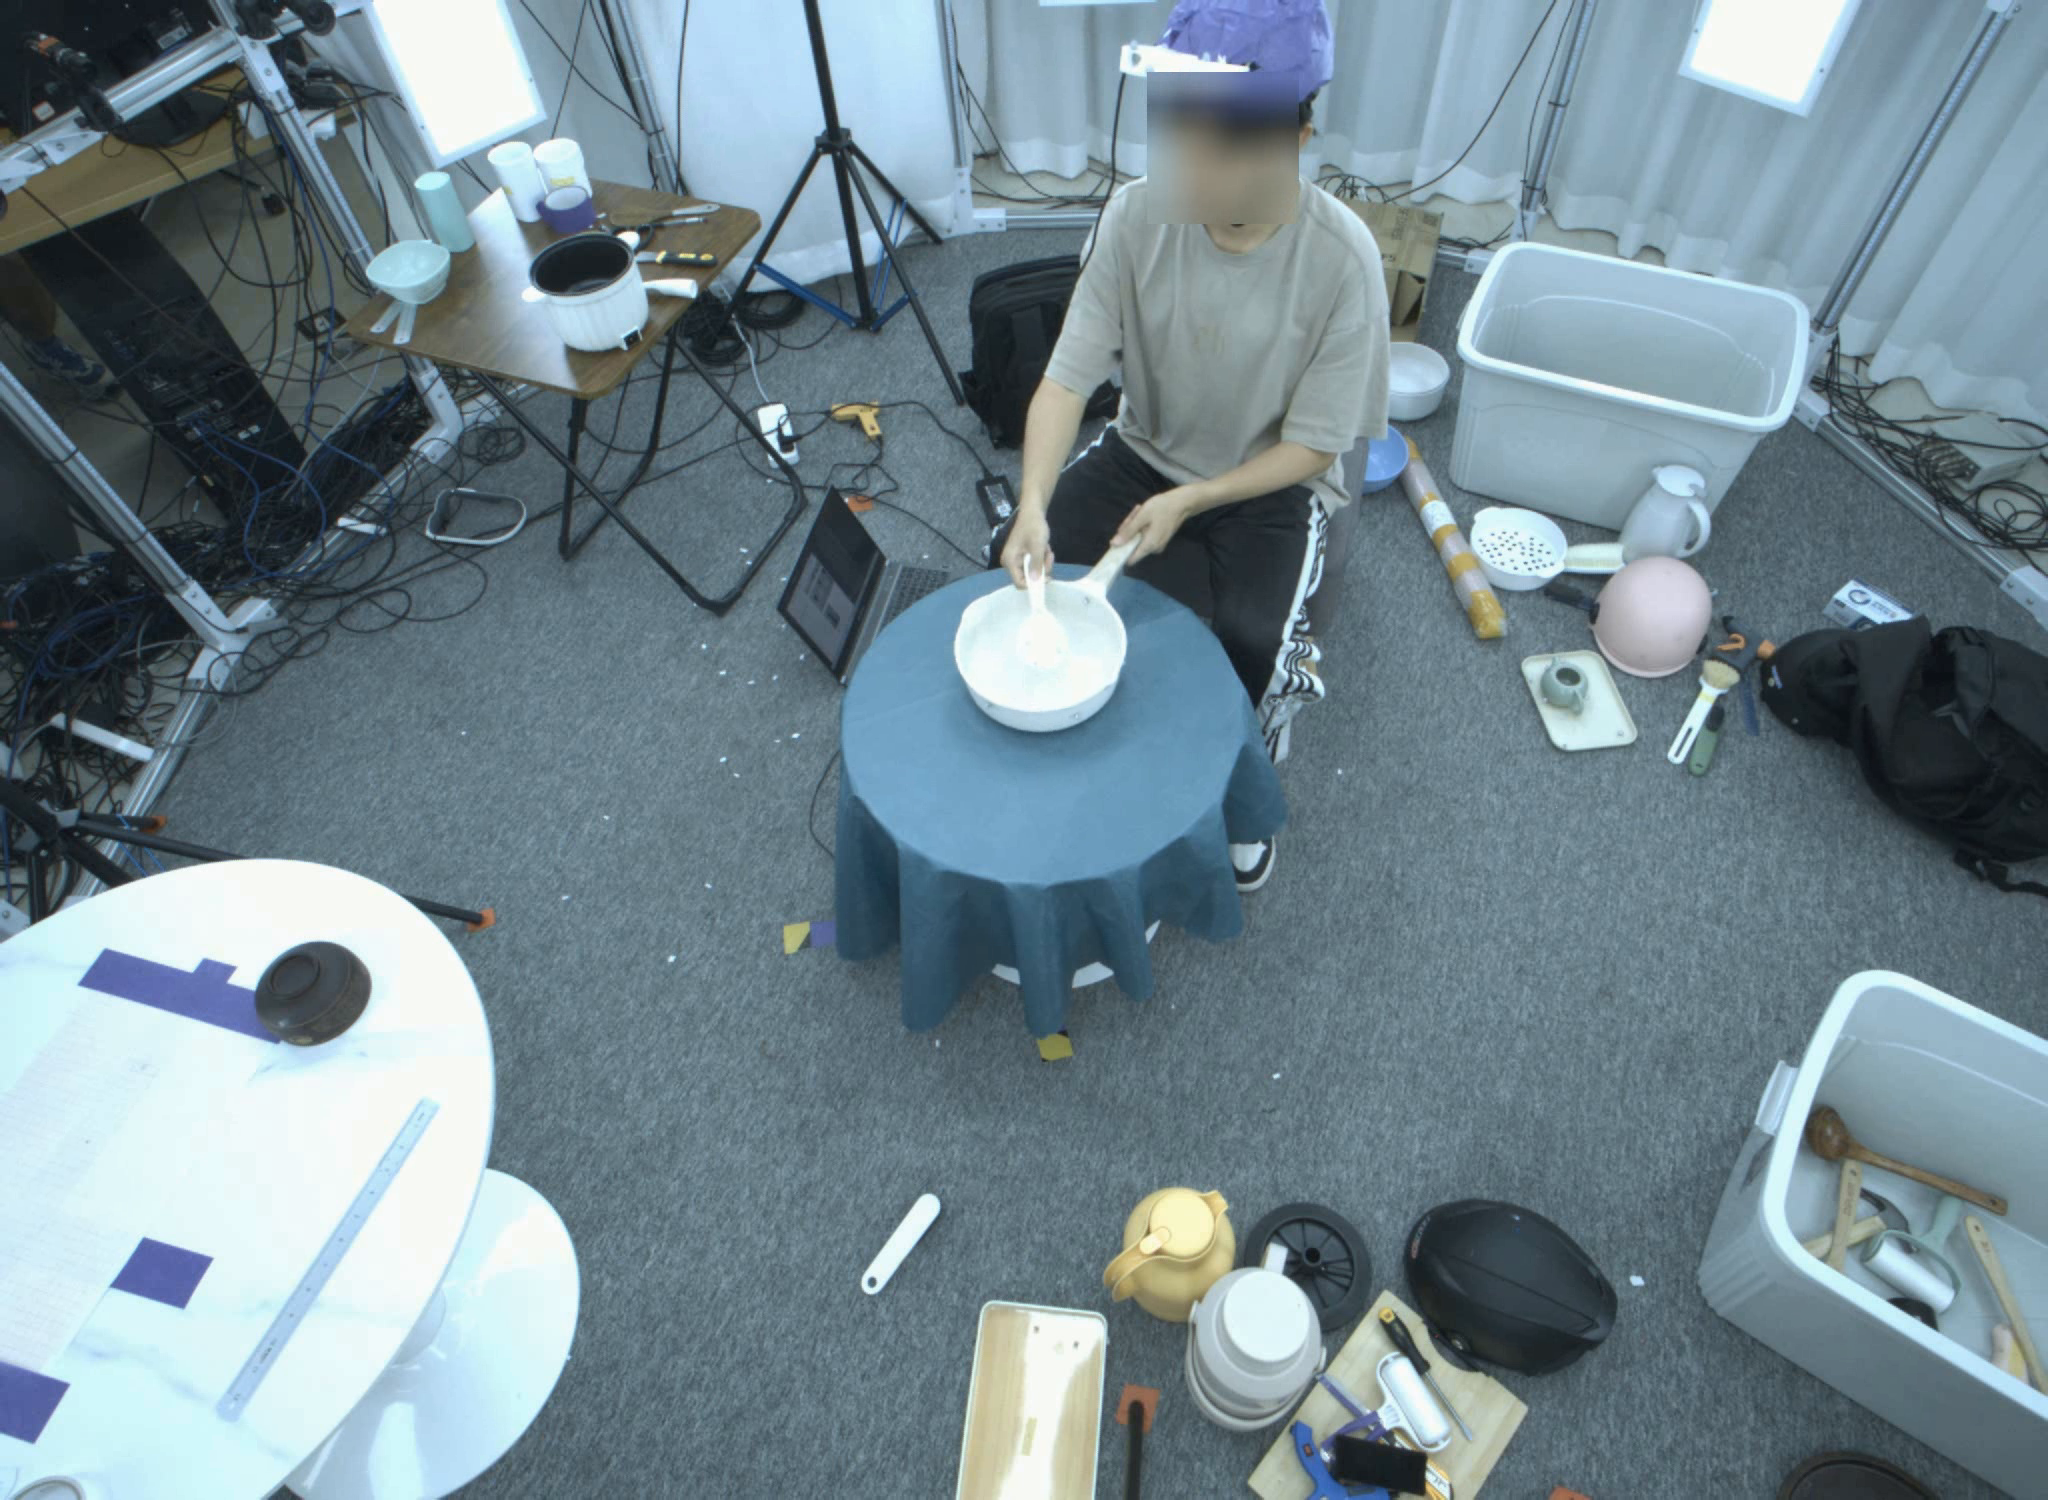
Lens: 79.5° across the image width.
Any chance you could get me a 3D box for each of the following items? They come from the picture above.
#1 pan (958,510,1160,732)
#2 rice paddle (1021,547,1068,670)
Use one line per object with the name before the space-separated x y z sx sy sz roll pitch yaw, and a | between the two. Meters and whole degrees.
pan | 0.085 -0.199 1.863 0.259 0.103 0.437 28 60 23
rice paddle | 0.022 -0.203 1.762 0.068 0.030 0.203 -13 61 10
